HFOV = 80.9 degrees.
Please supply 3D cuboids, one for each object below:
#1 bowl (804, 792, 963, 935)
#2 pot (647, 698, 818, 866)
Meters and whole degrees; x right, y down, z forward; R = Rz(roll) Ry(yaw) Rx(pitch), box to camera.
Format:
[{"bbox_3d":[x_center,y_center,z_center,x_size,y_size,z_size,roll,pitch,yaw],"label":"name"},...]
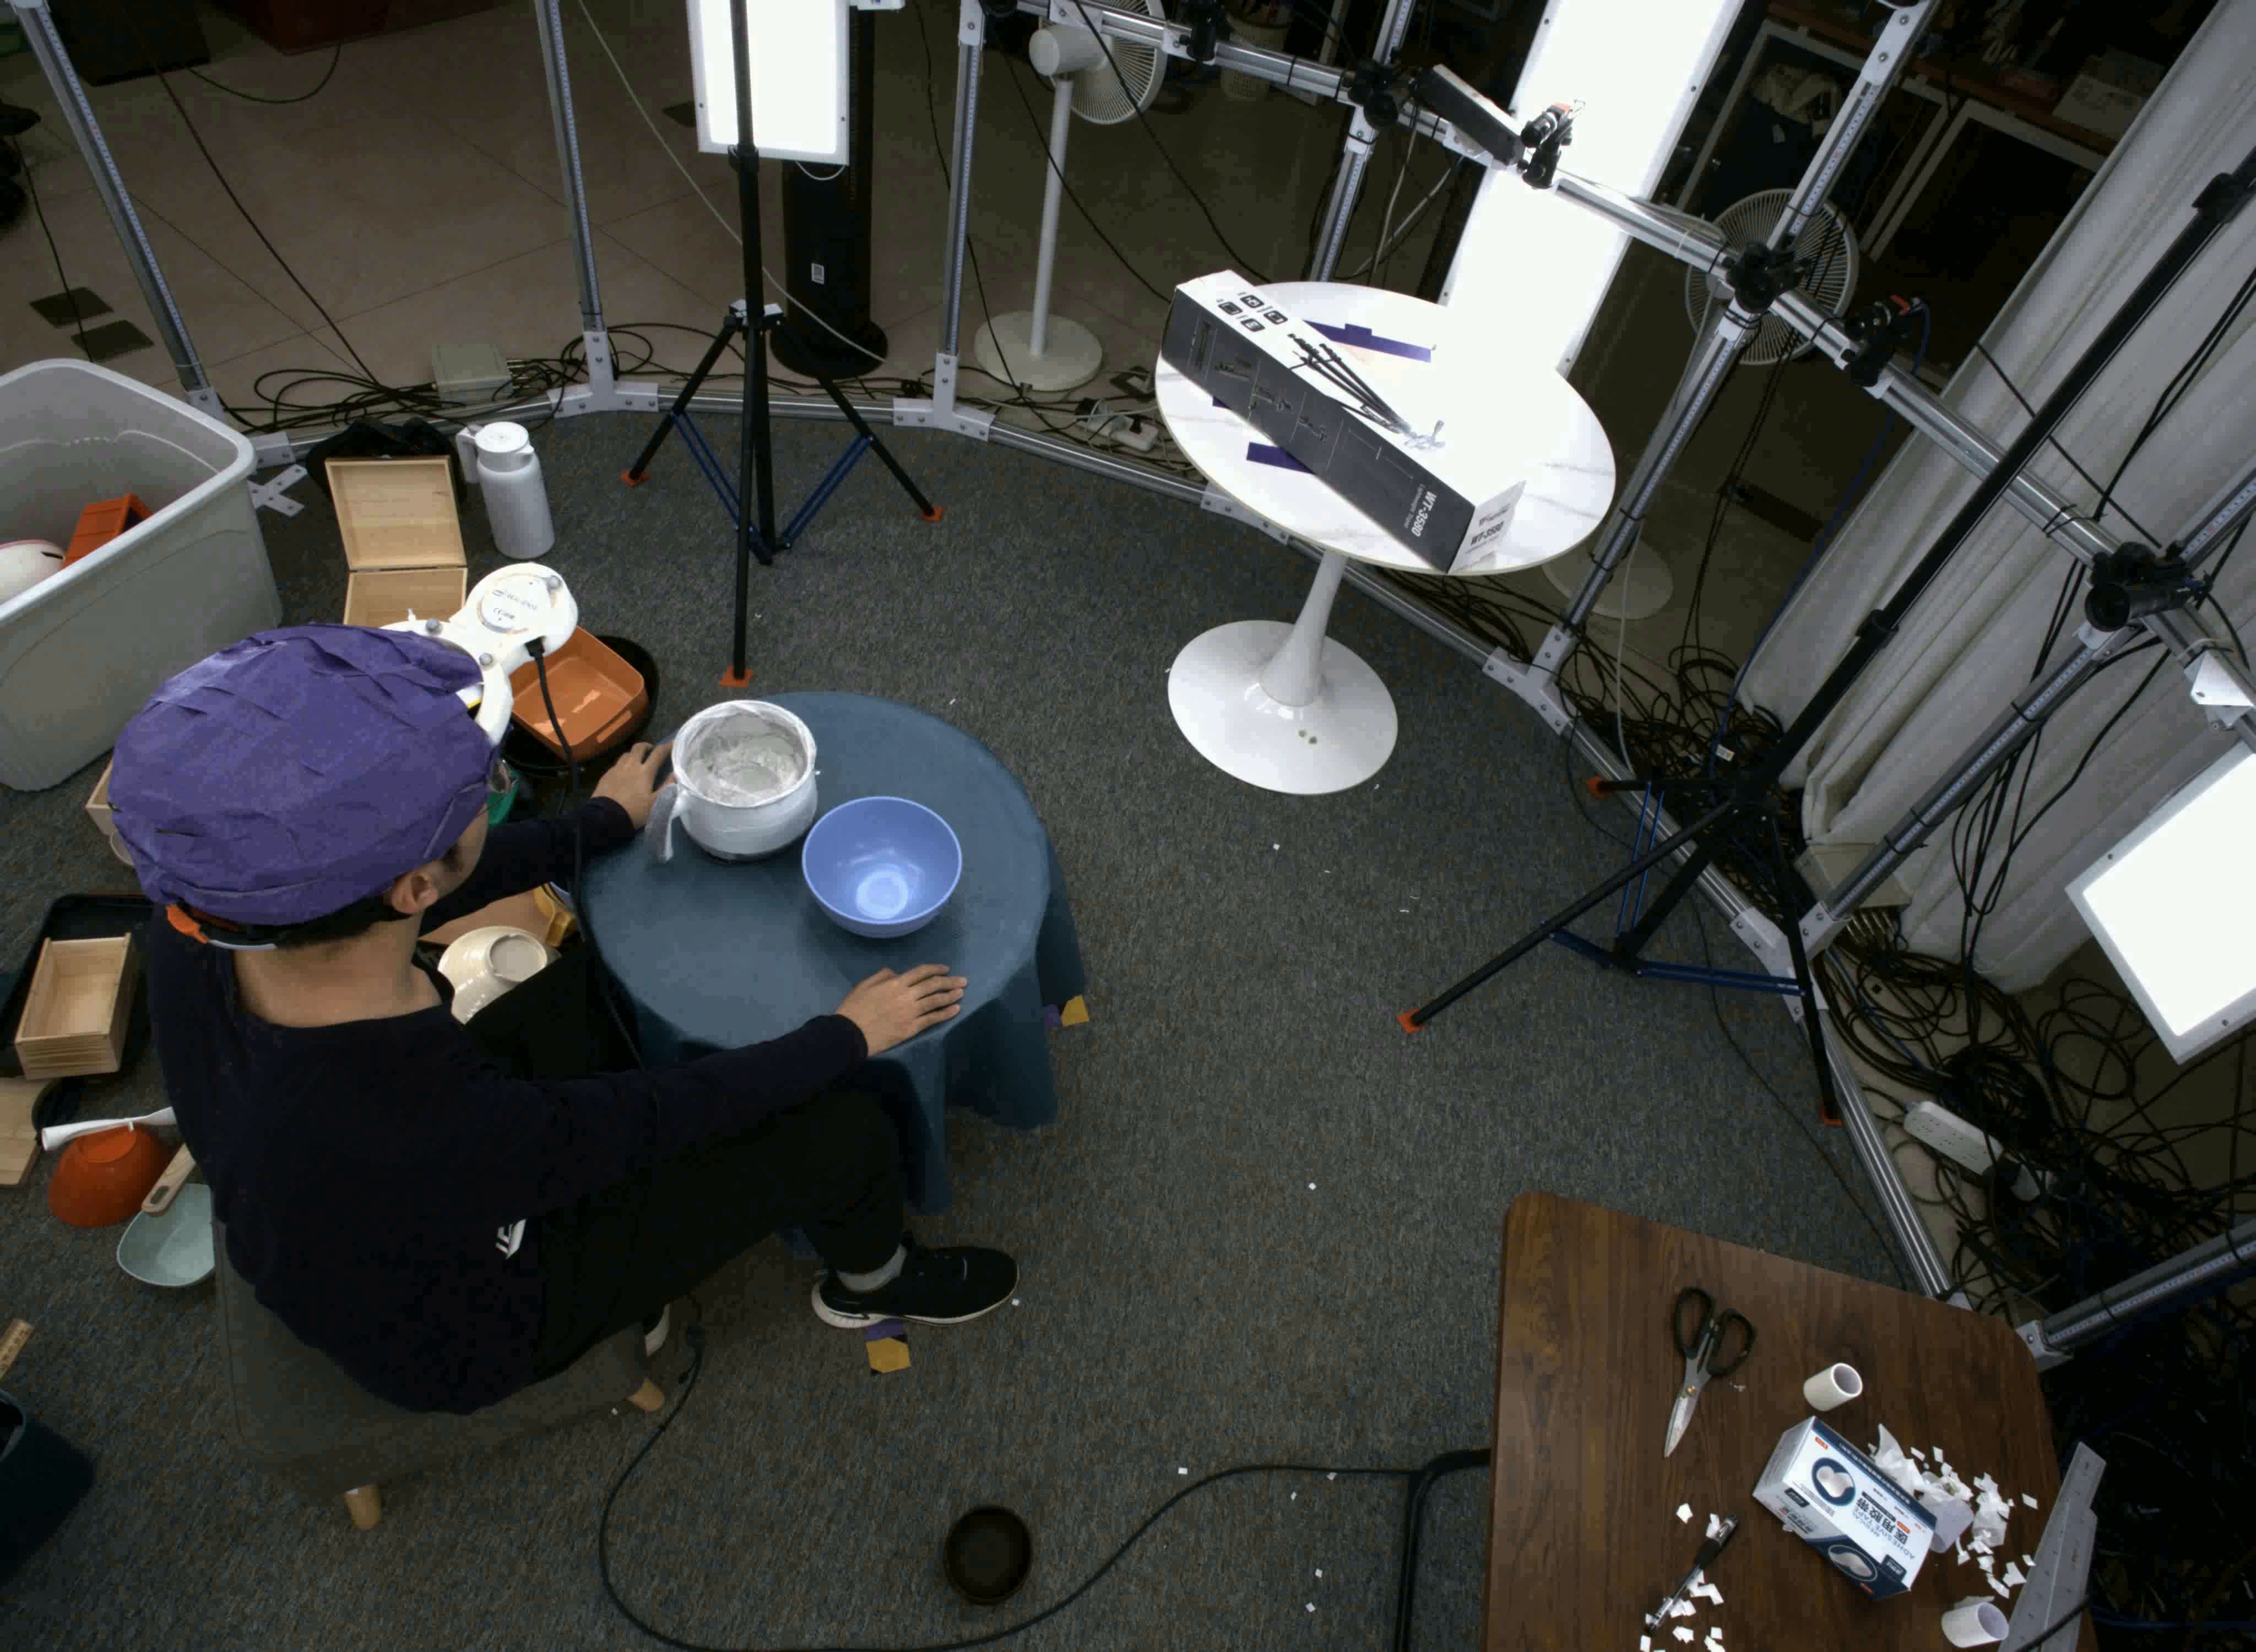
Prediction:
[{"bbox_3d":[-0.313,0.063,1.652,0.197,0.097,0.193,11,50,-11],"label":"bowl"},{"bbox_3d":[-0.512,-0.043,1.655,0.174,0.140,0.234,40,54,21],"label":"pot"}]
